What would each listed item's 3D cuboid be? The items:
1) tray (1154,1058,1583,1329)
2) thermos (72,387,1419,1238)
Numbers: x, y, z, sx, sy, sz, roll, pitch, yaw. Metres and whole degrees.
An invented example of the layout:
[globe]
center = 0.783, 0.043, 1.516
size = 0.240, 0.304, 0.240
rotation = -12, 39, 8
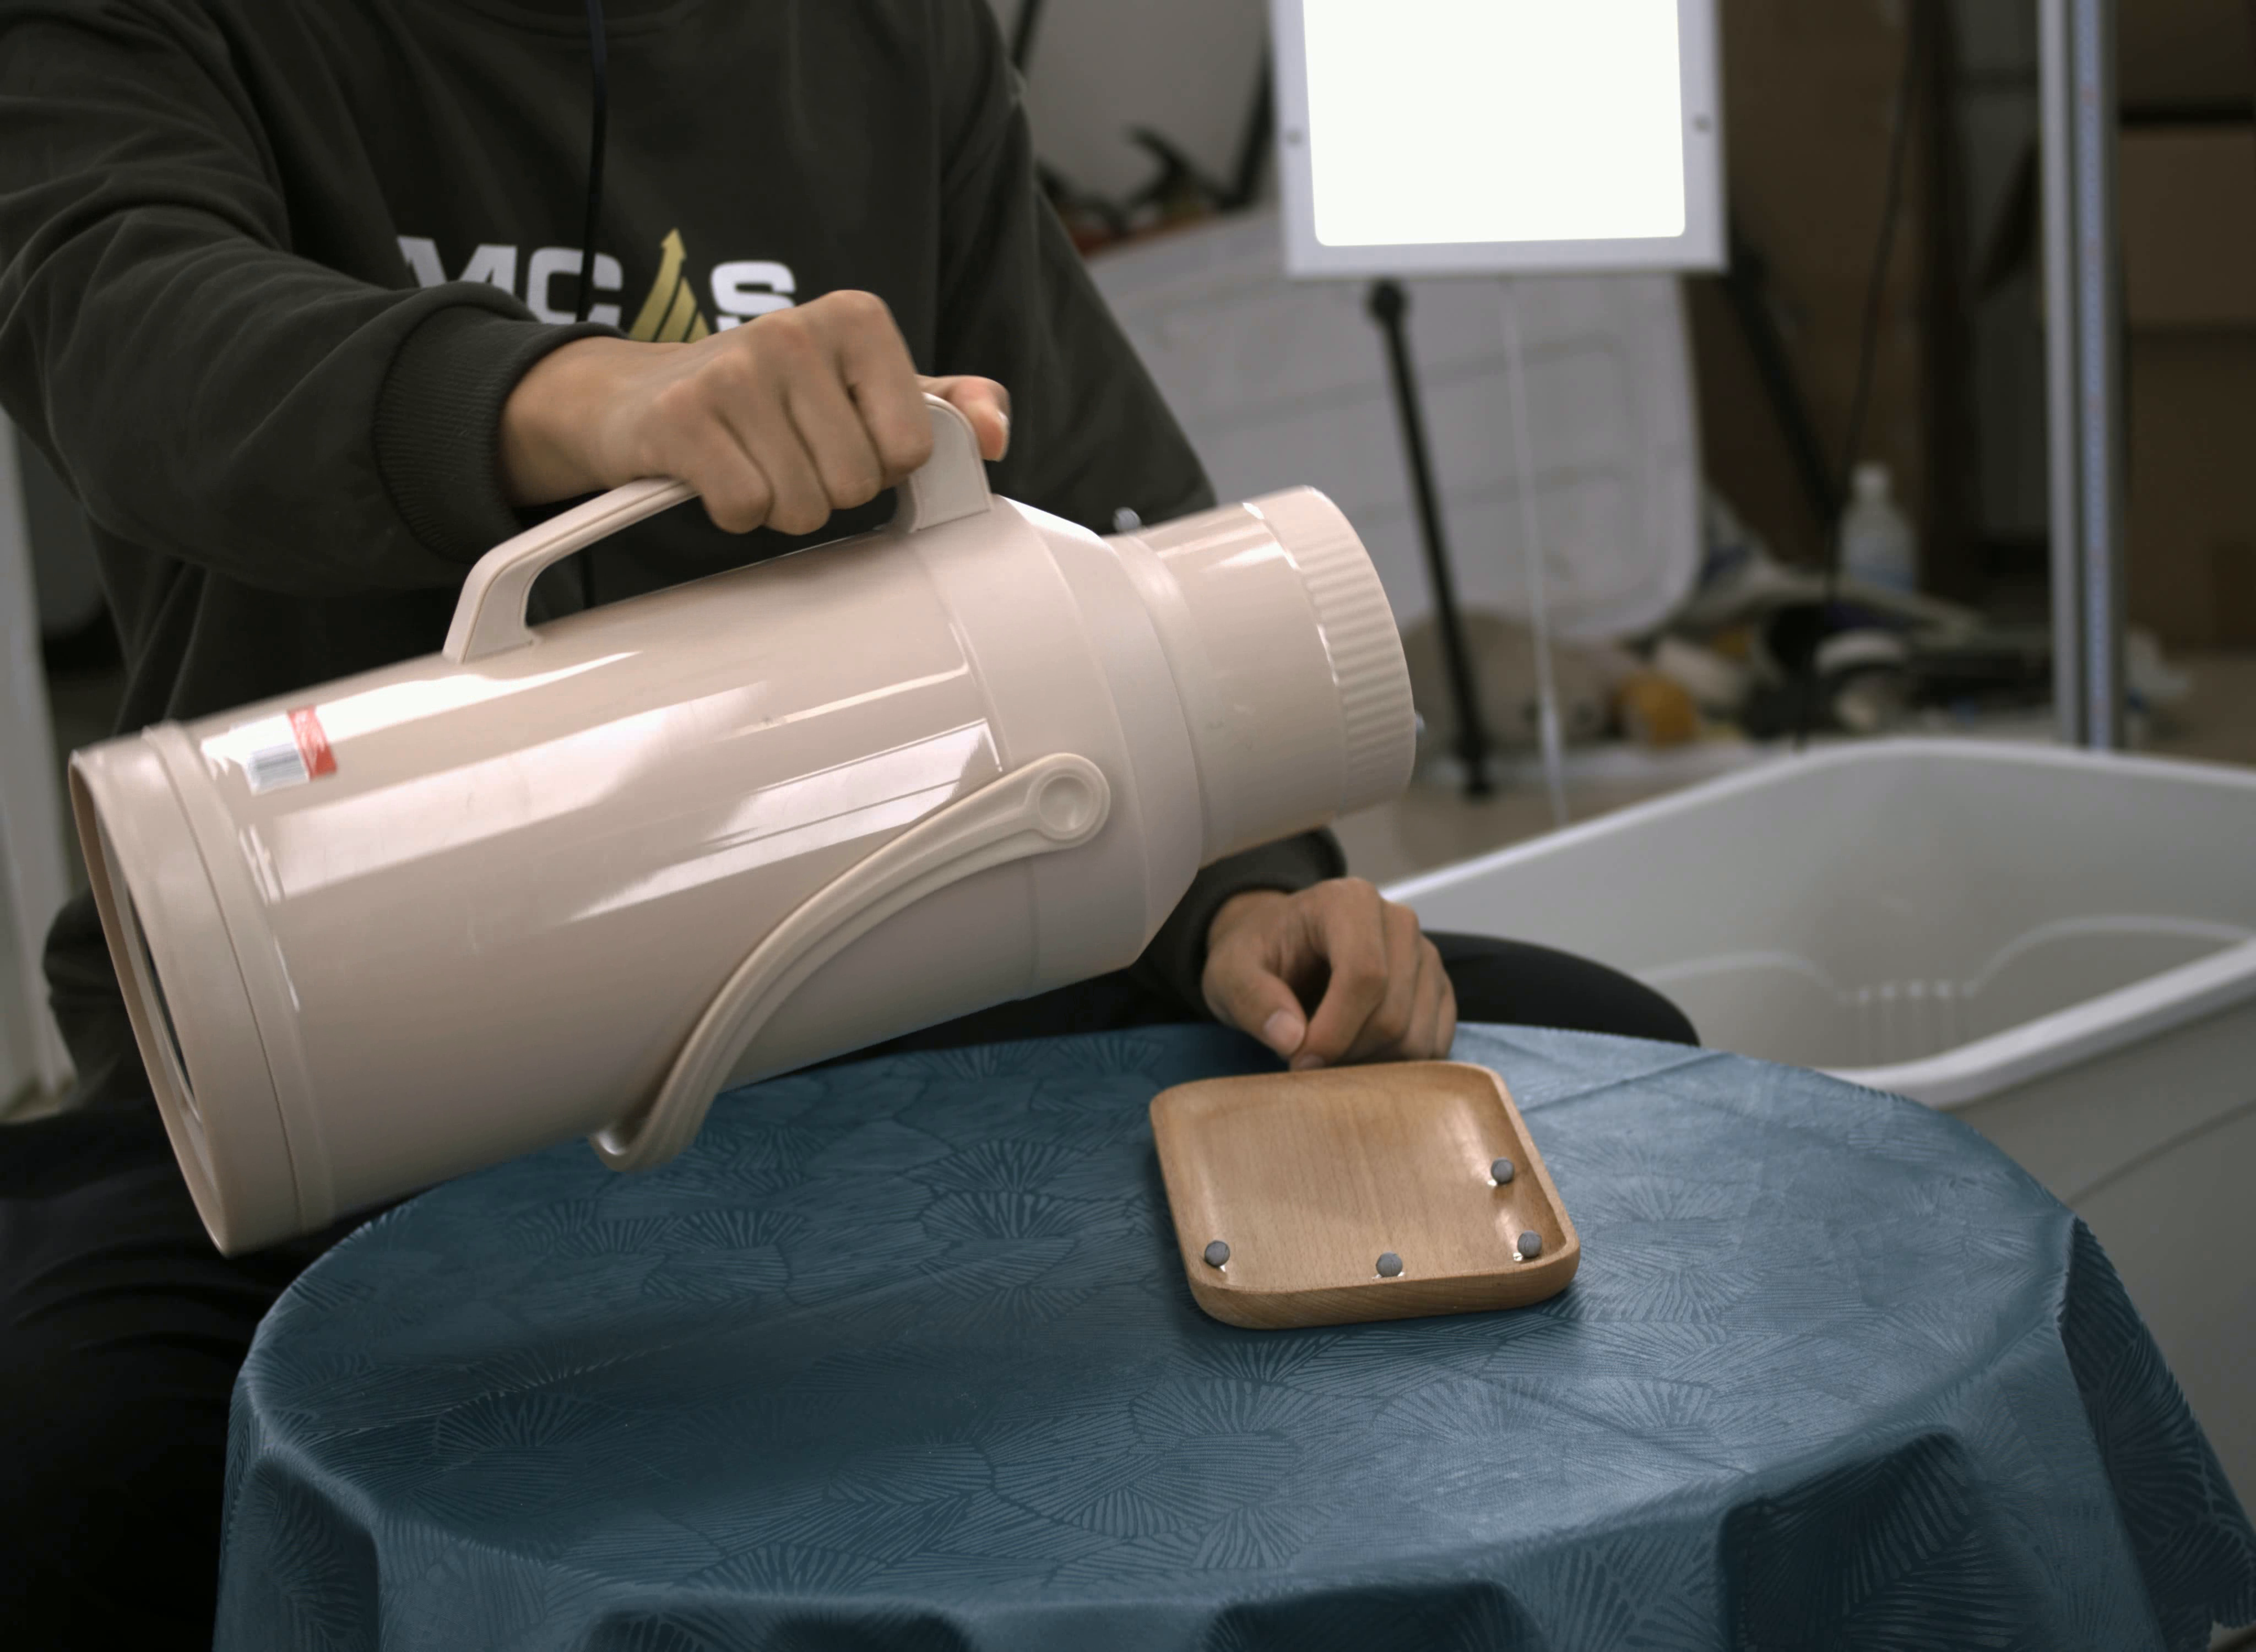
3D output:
[tray]
center = 0.078, 0.122, 1.858
size = 0.130, 0.023, 0.250
rotation = -3, 13, -1
[thermos]
center = -0.117, -0.017, 1.713
size = 0.401, 0.207, 0.177
rotation = -15, 15, -11
